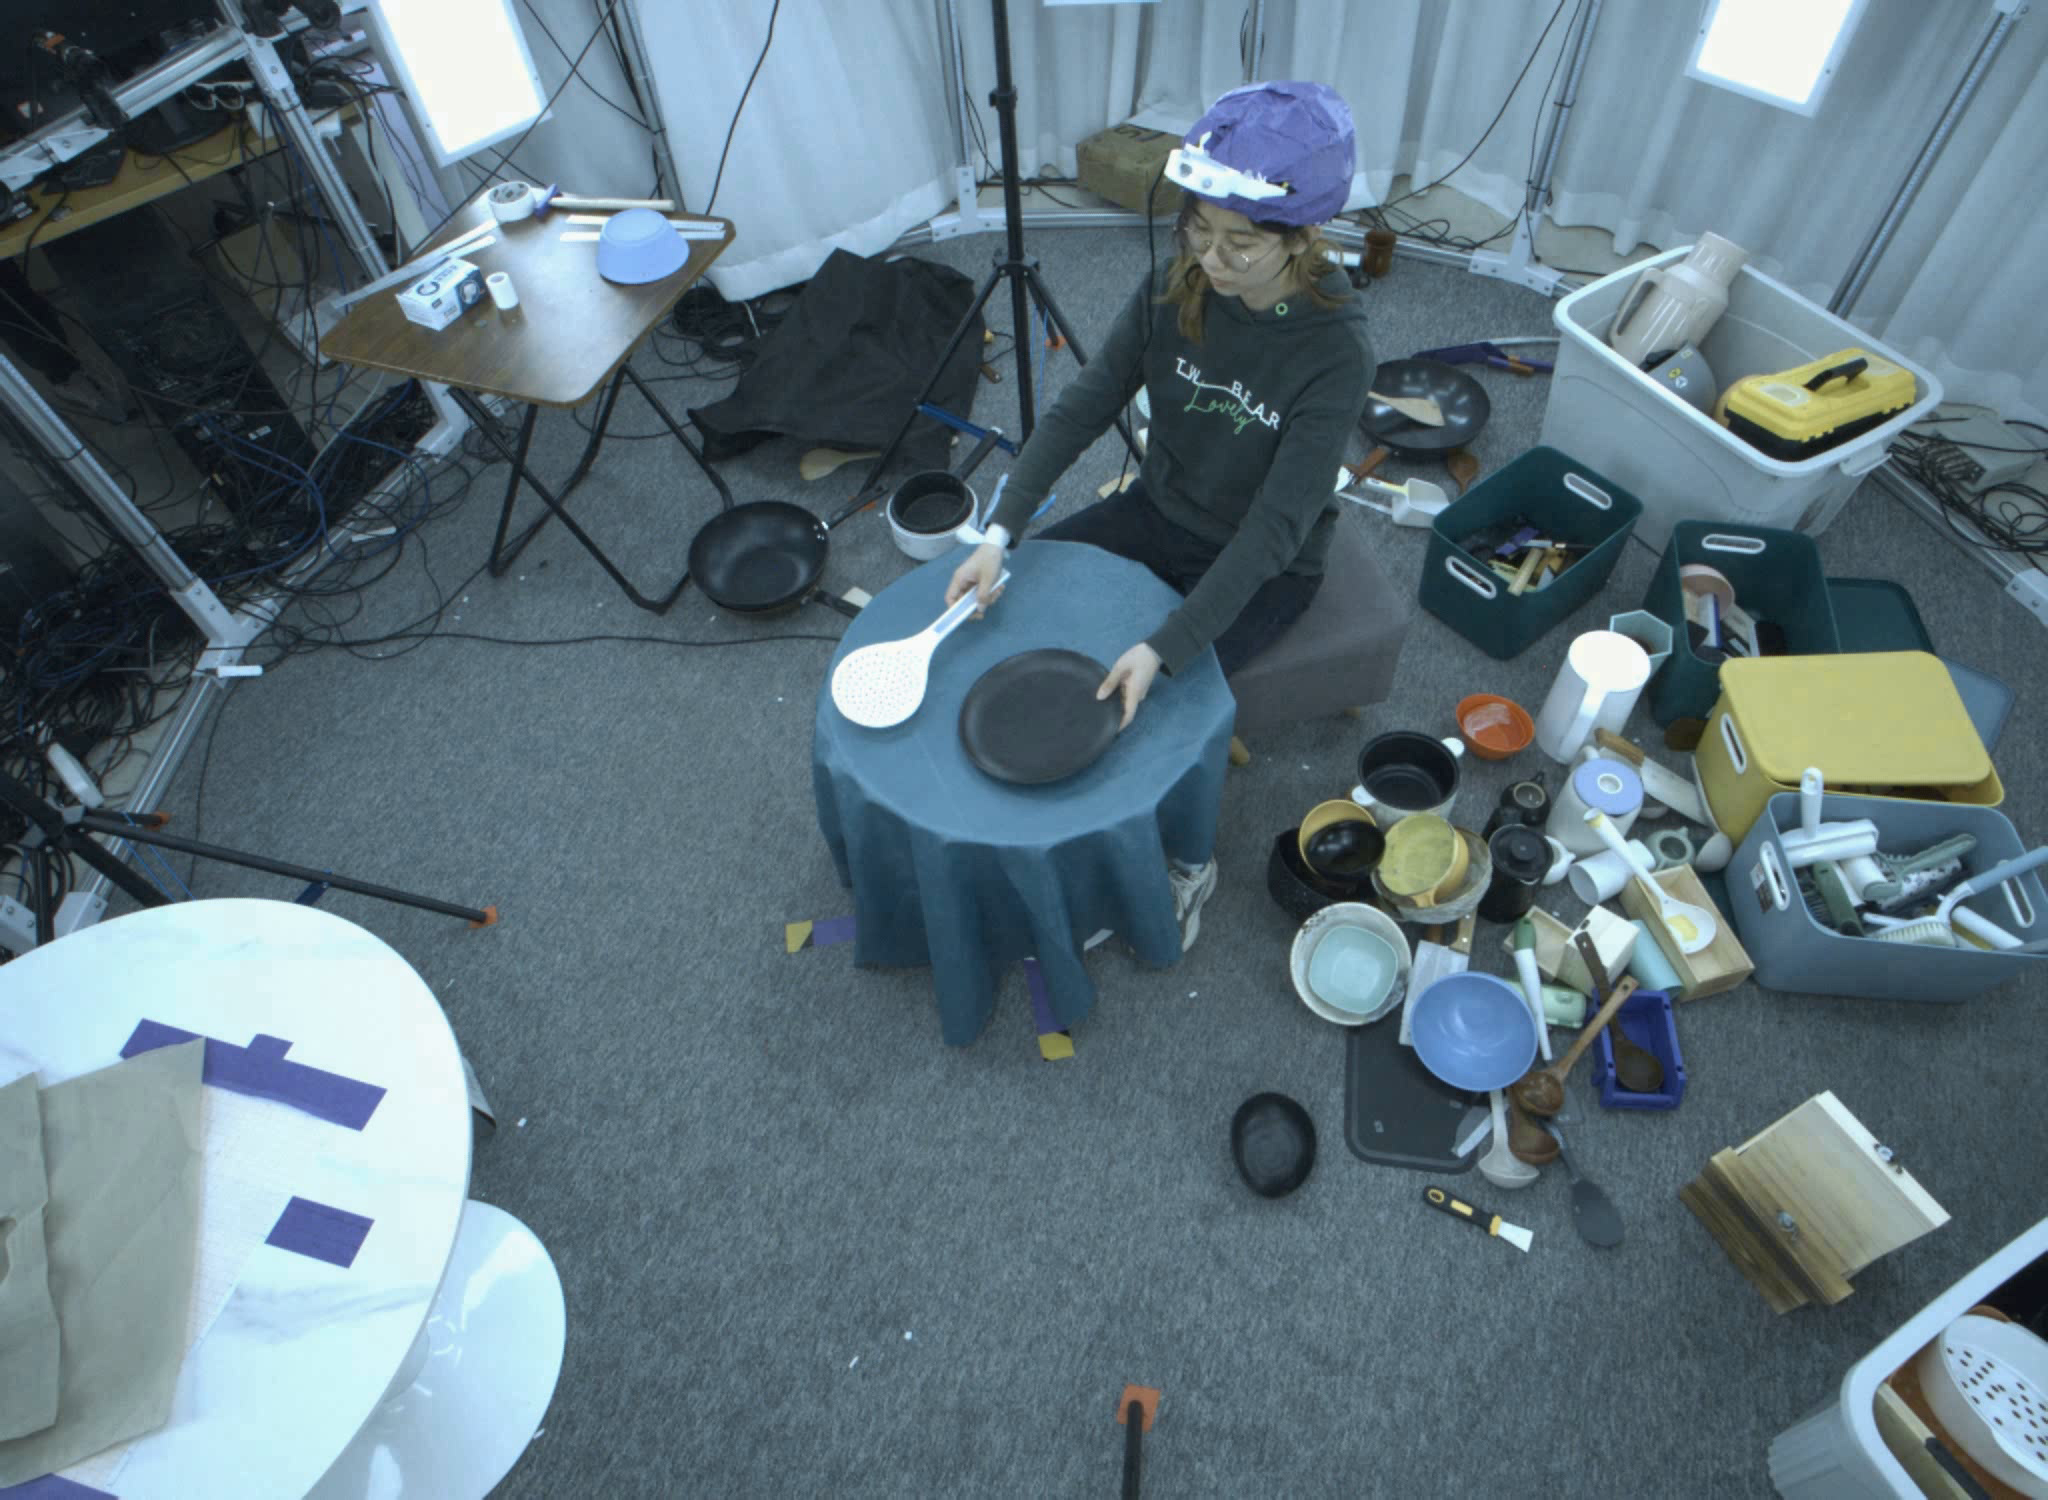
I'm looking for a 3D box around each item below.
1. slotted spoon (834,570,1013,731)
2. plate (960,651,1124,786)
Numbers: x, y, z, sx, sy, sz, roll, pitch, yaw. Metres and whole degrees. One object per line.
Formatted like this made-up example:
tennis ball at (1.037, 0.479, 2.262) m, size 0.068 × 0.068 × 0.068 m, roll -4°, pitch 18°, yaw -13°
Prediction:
slotted spoon at (-0.142, -0.159, 1.861) m, size 0.135 × 0.046 × 0.351 m, roll 40°, pitch 73°, yaw 11°
plate at (0.027, -0.044, 1.798) m, size 0.243 × 0.024 × 0.242 m, roll -5°, pitch 55°, yaw 8°
